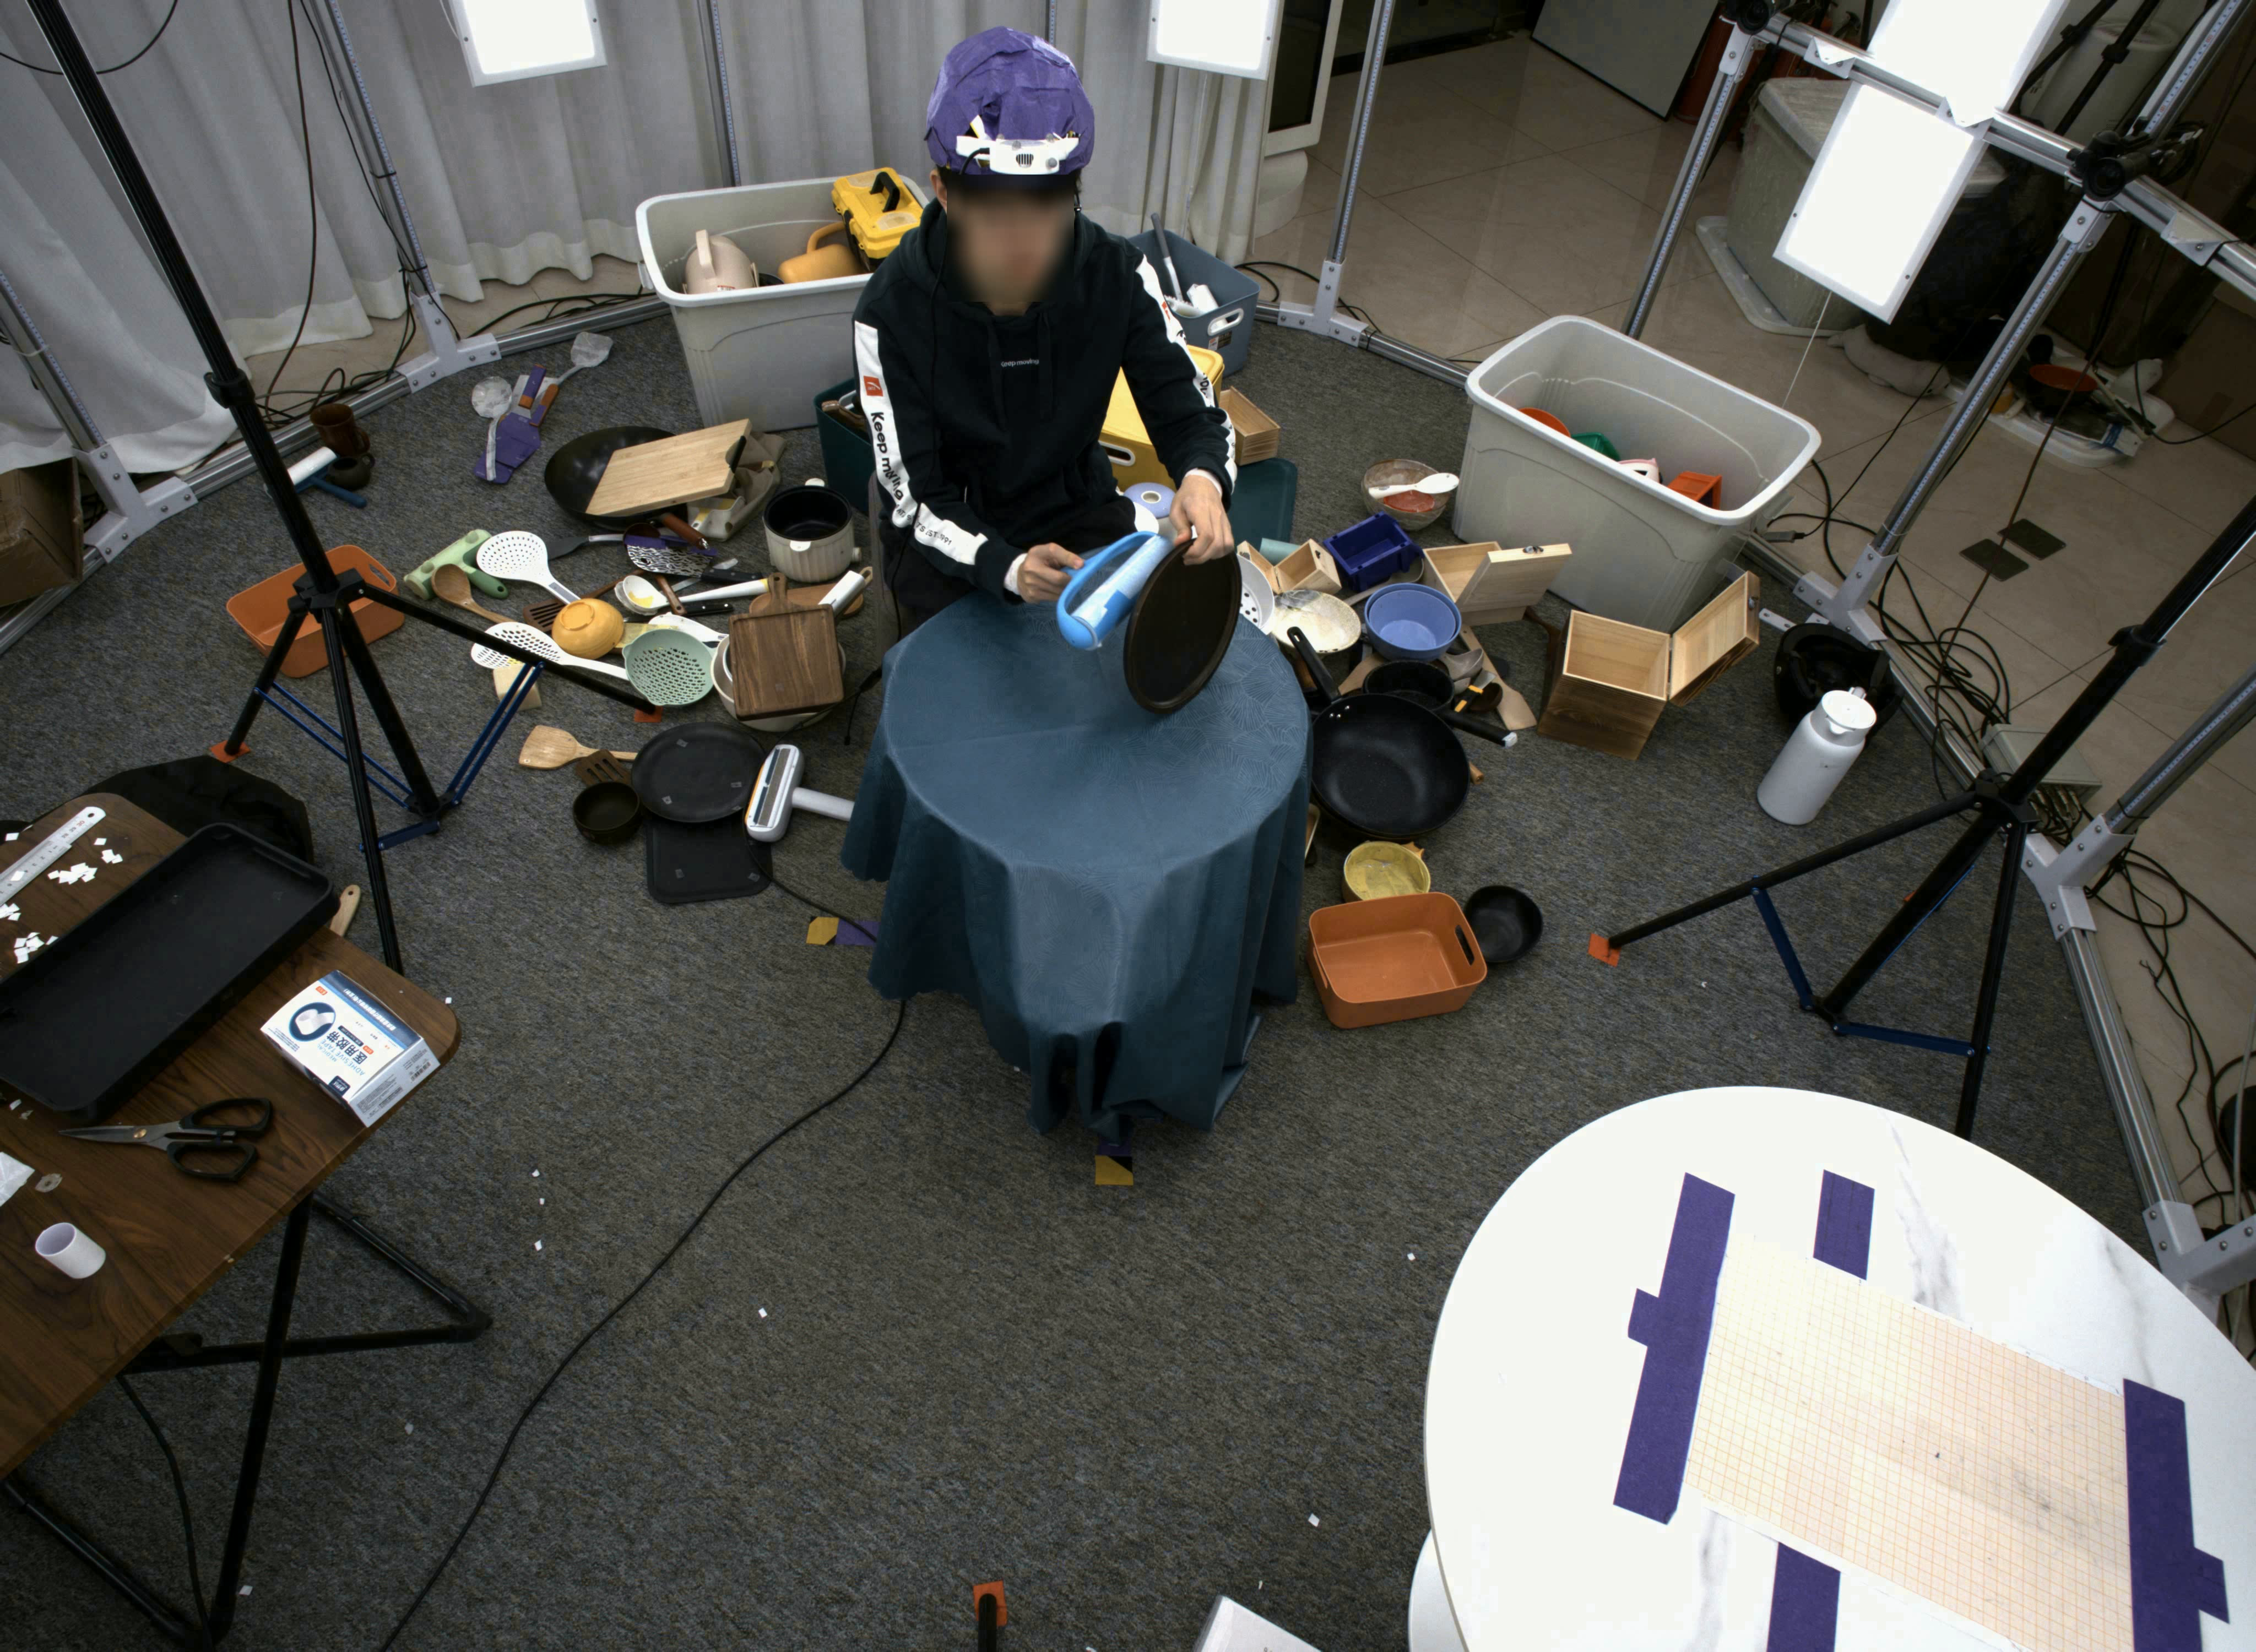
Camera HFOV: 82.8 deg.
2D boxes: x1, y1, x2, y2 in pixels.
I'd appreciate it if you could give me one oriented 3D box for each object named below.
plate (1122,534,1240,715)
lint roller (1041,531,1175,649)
[{"bbox_3d":[0.074,-0.274,1.753,0.029,0.248,0.258,25,51,29],"label":"plate"},{"bbox_3d":[-0.055,-0.326,1.746,0.182,0.066,0.232,13,50,34],"label":"lint roller"}]
